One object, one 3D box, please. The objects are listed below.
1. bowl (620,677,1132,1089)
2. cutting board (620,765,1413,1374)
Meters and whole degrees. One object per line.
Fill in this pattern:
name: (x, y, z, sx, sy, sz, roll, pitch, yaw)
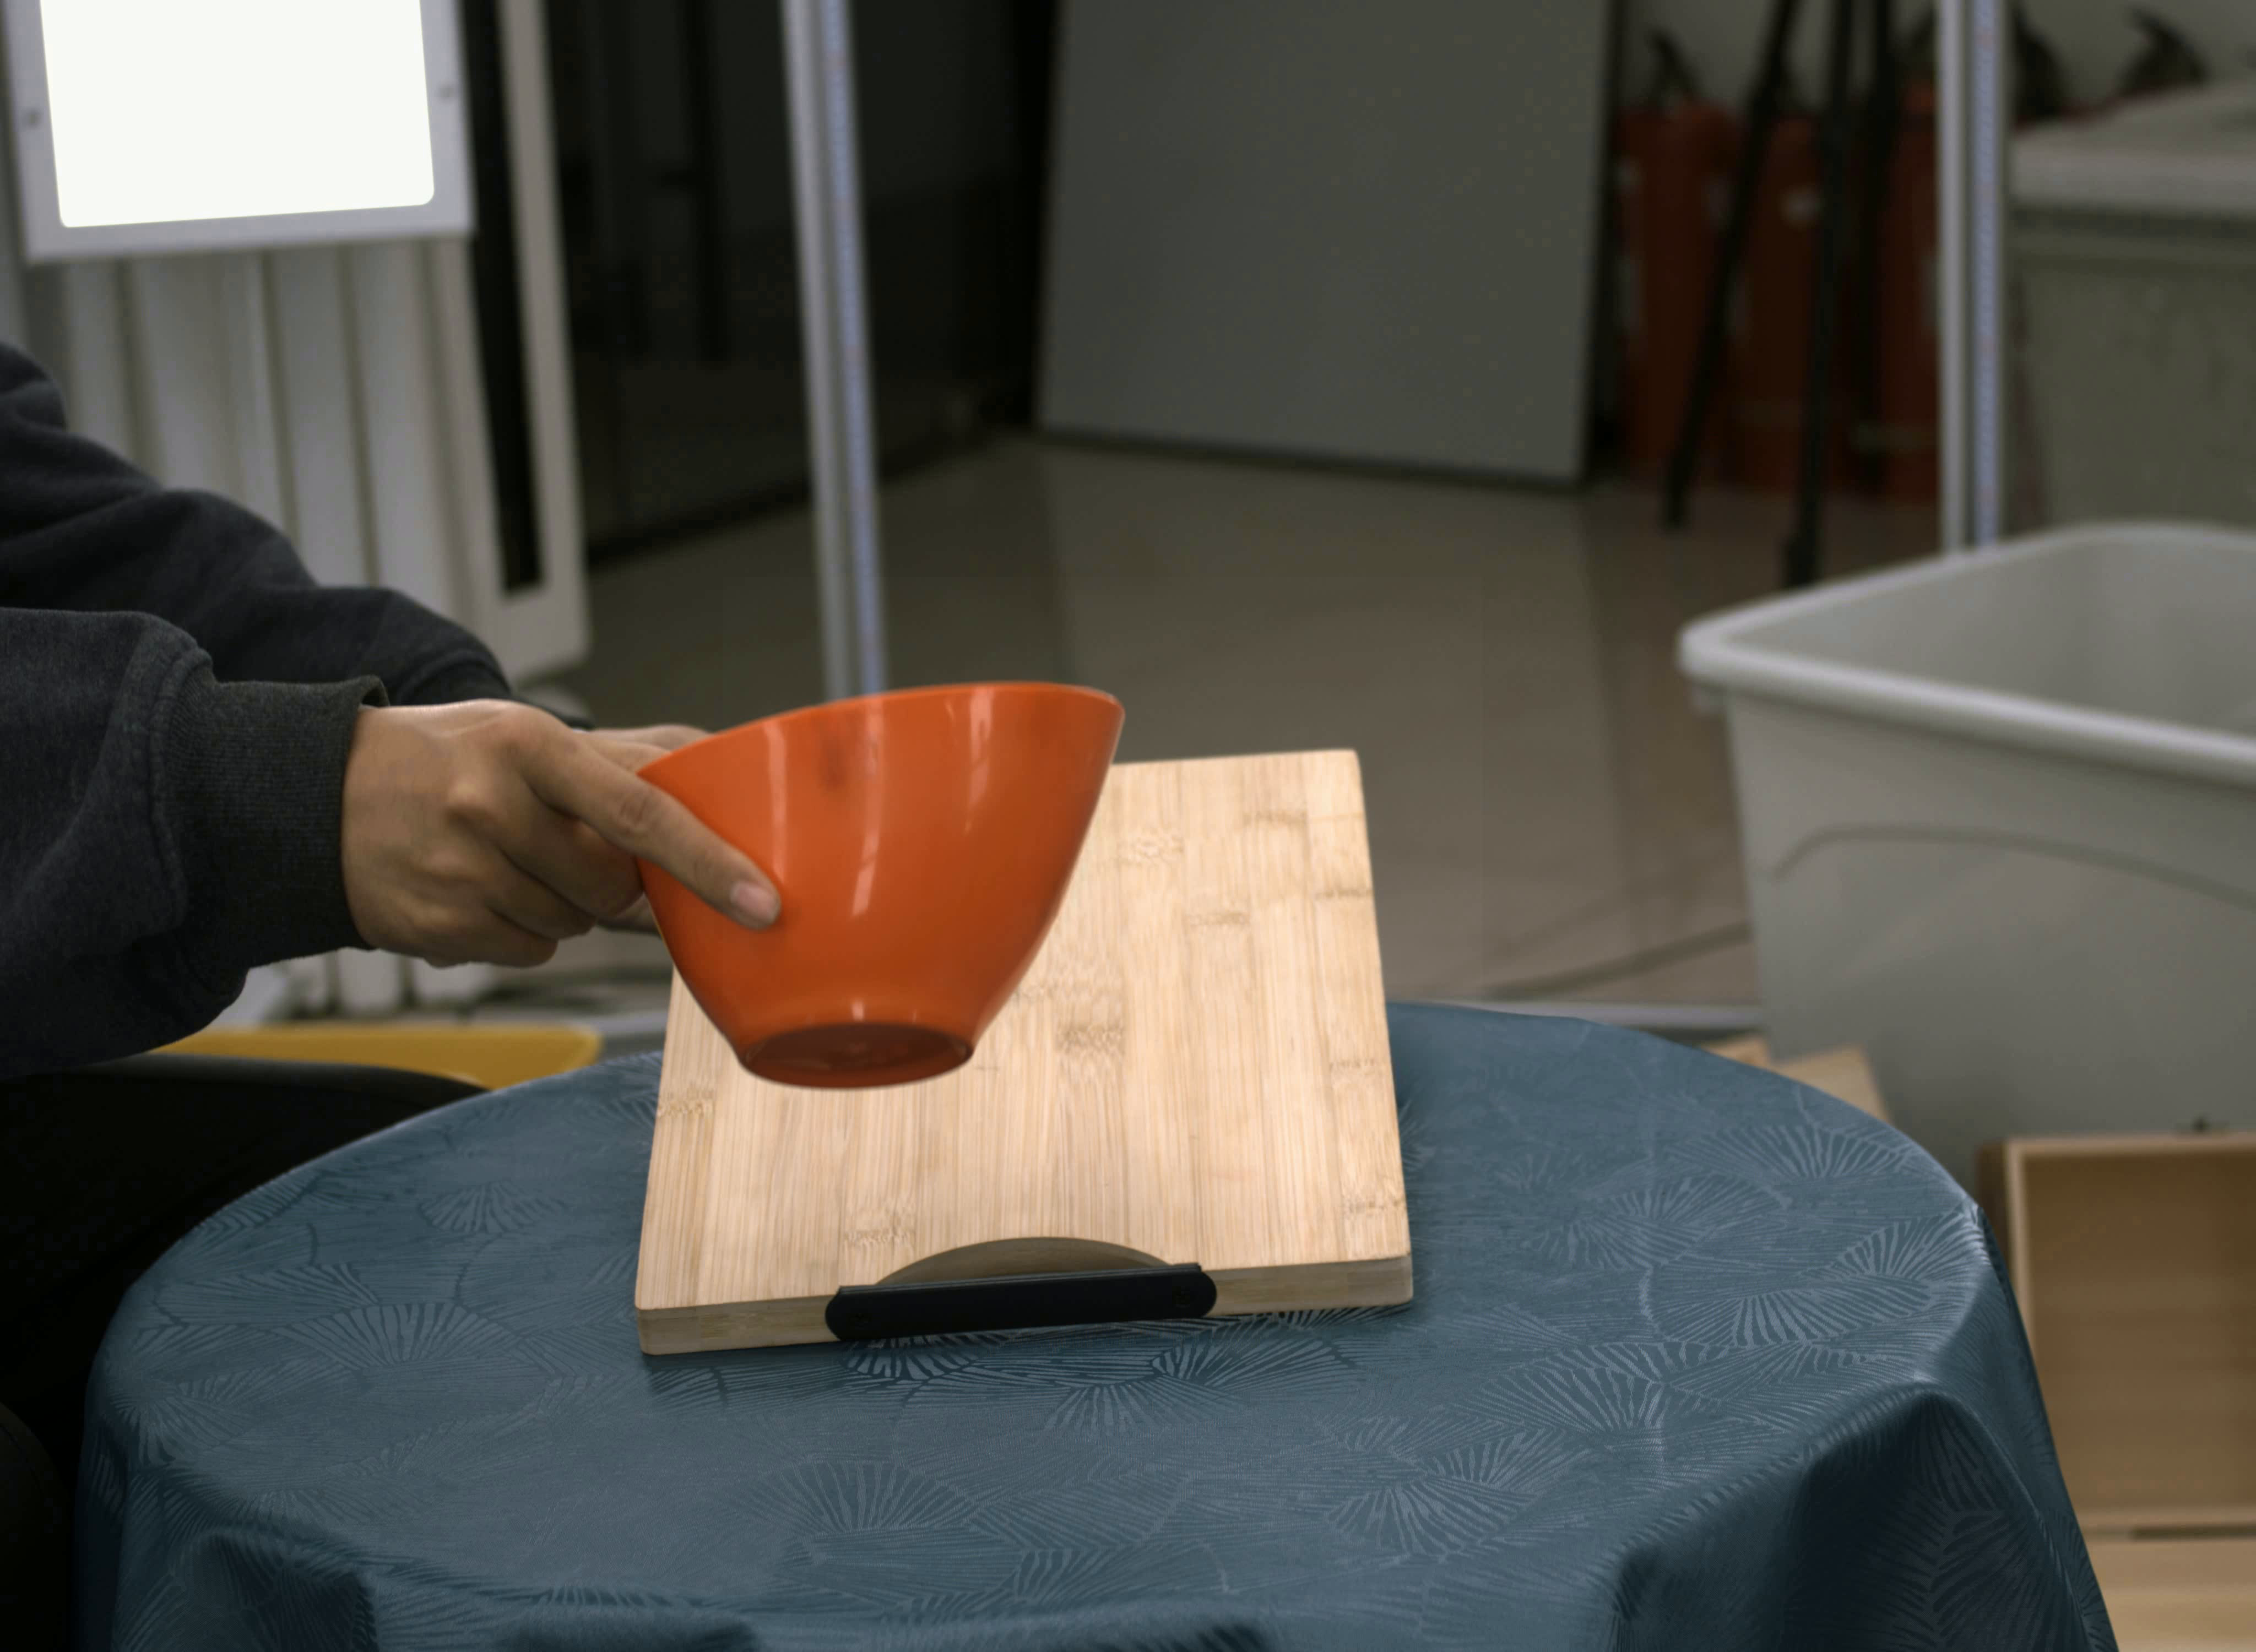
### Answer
bowl: (-0.070, 0.017, 1.524, 0.146, 0.106, 0.148, 0, -18, -1)
cutting board: (-0.033, 0.072, 1.778, 0.248, 0.024, 0.350, -5, 27, 2)
